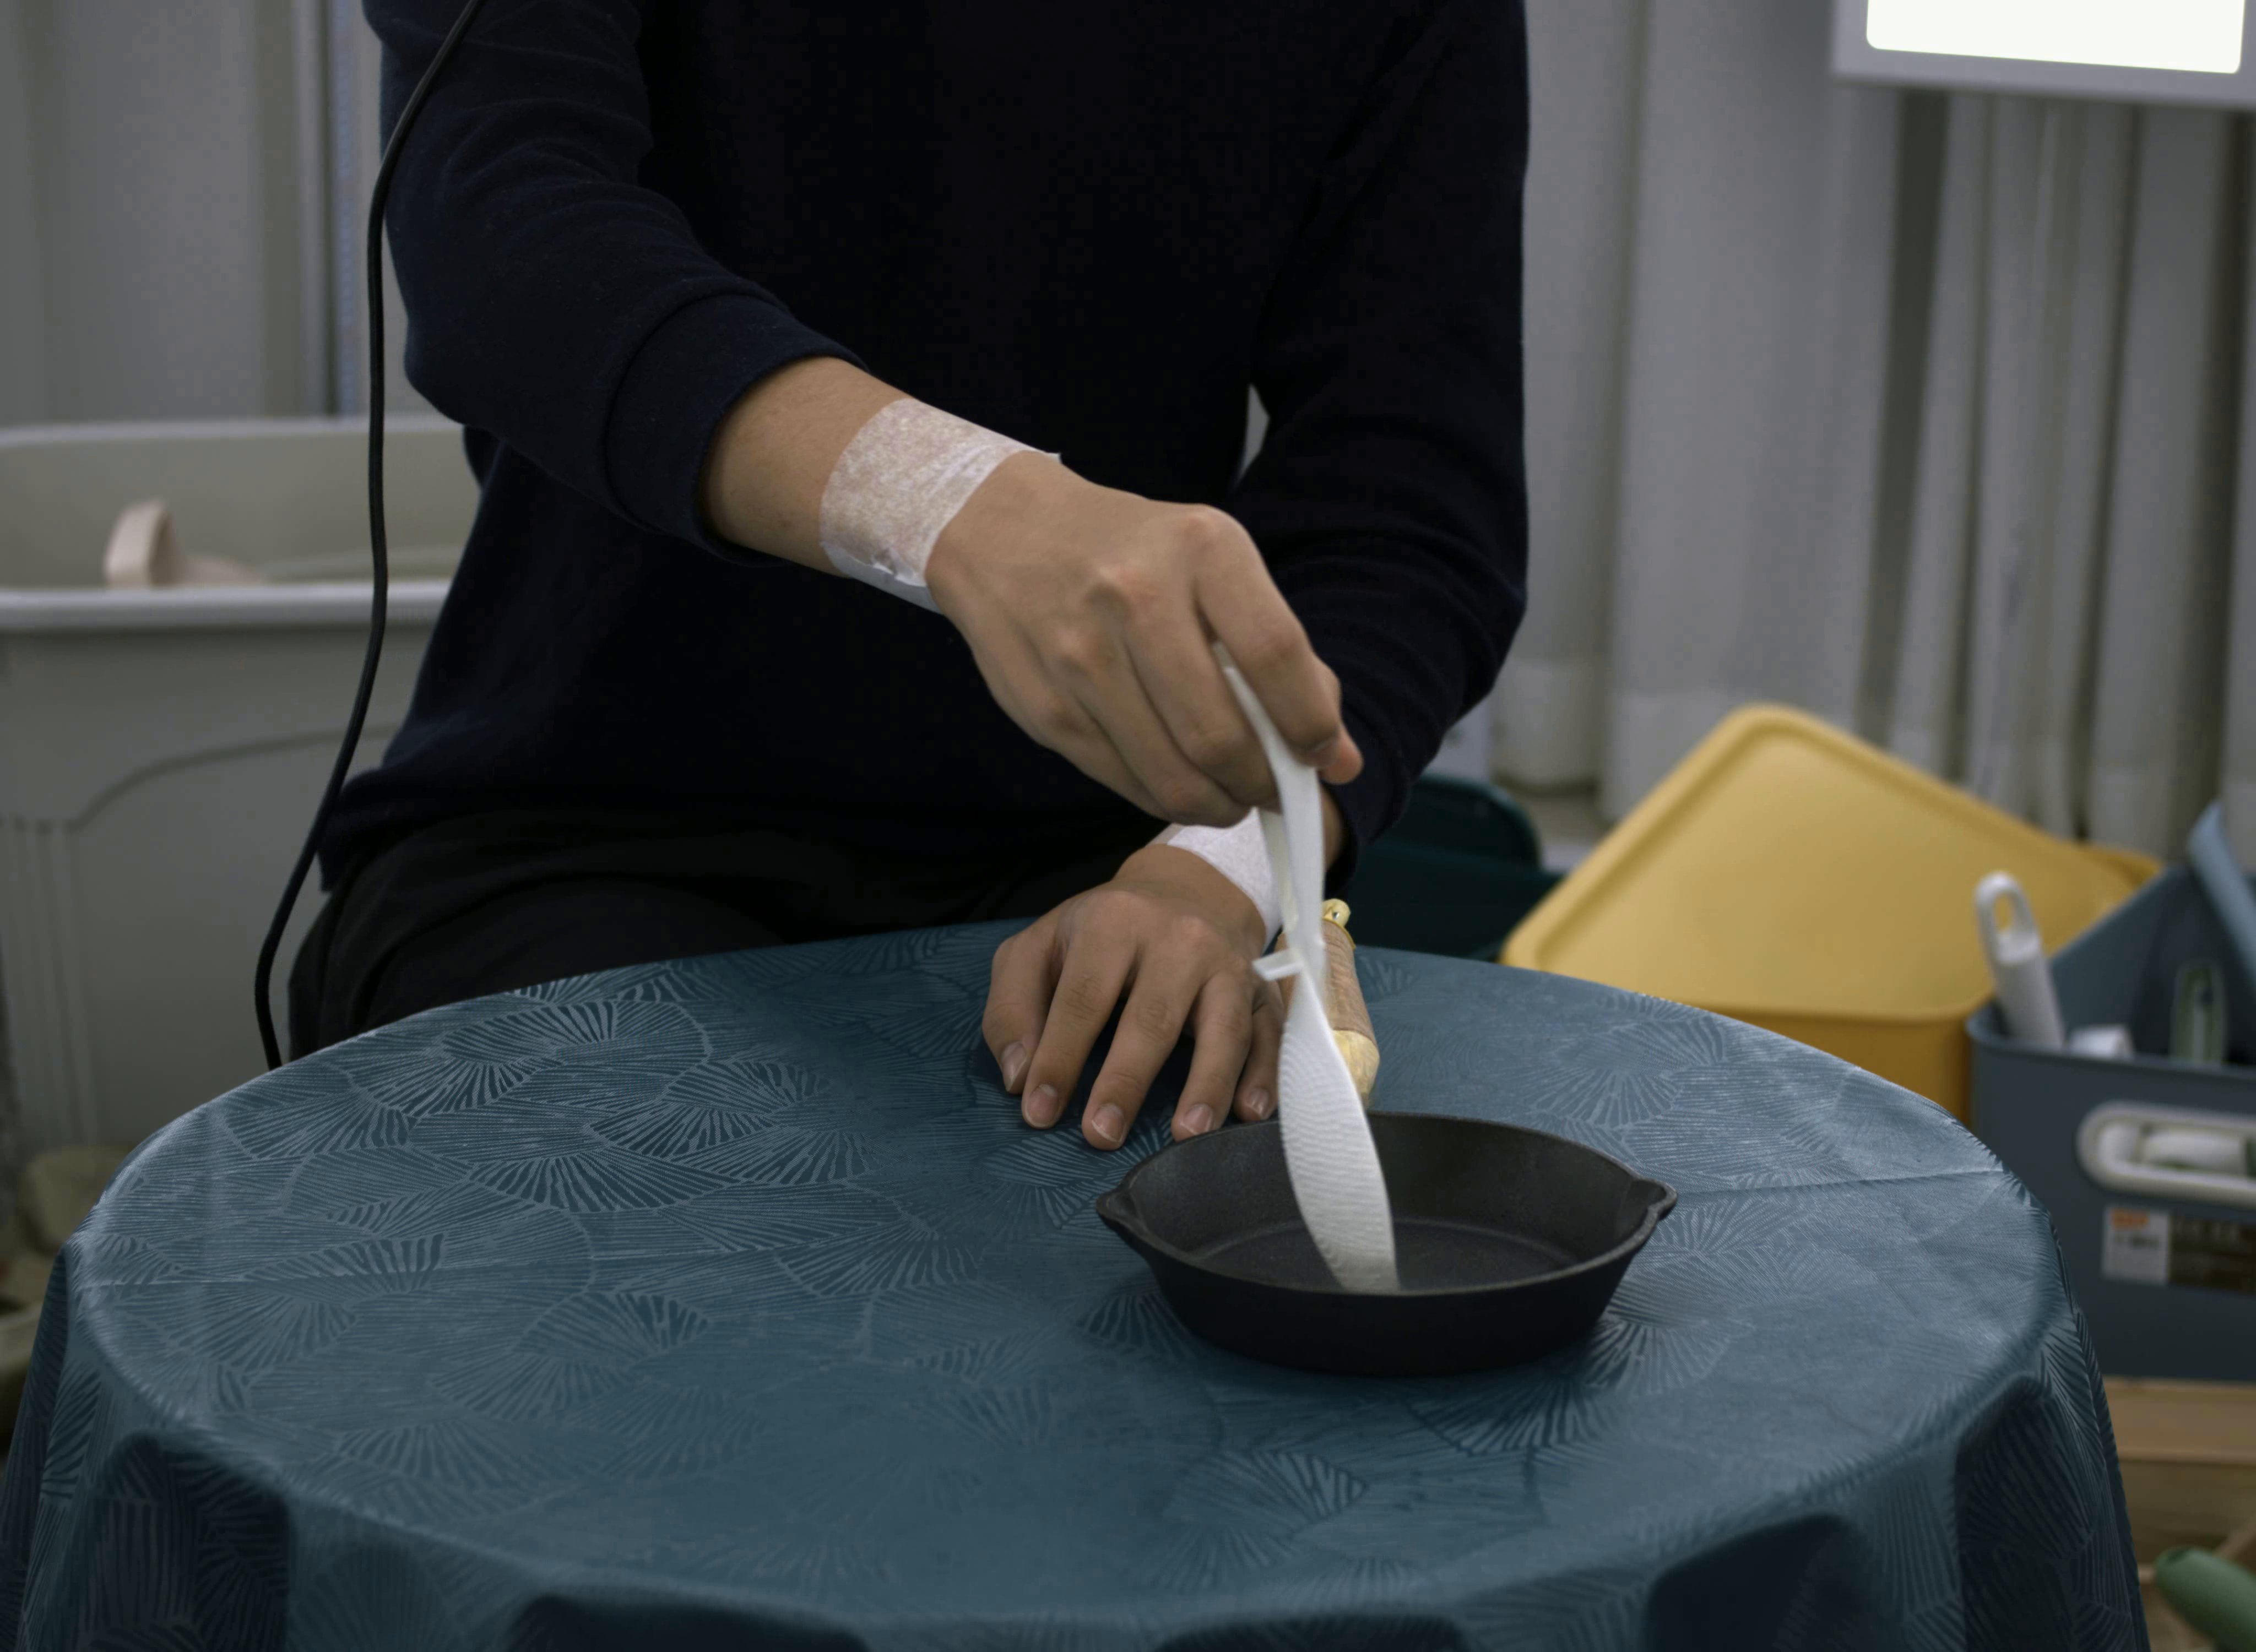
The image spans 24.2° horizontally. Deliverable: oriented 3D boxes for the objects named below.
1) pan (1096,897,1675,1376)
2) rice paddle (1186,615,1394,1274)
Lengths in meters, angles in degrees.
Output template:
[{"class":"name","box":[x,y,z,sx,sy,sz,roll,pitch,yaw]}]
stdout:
[{"class":"pan","box":[0.071,0.091,1.606,0.168,0.050,0.322,0,17,-3]},{"class":"rice paddle","box":[0.051,0.041,1.486,0.029,0.207,0.068,-17,22,-13]}]
